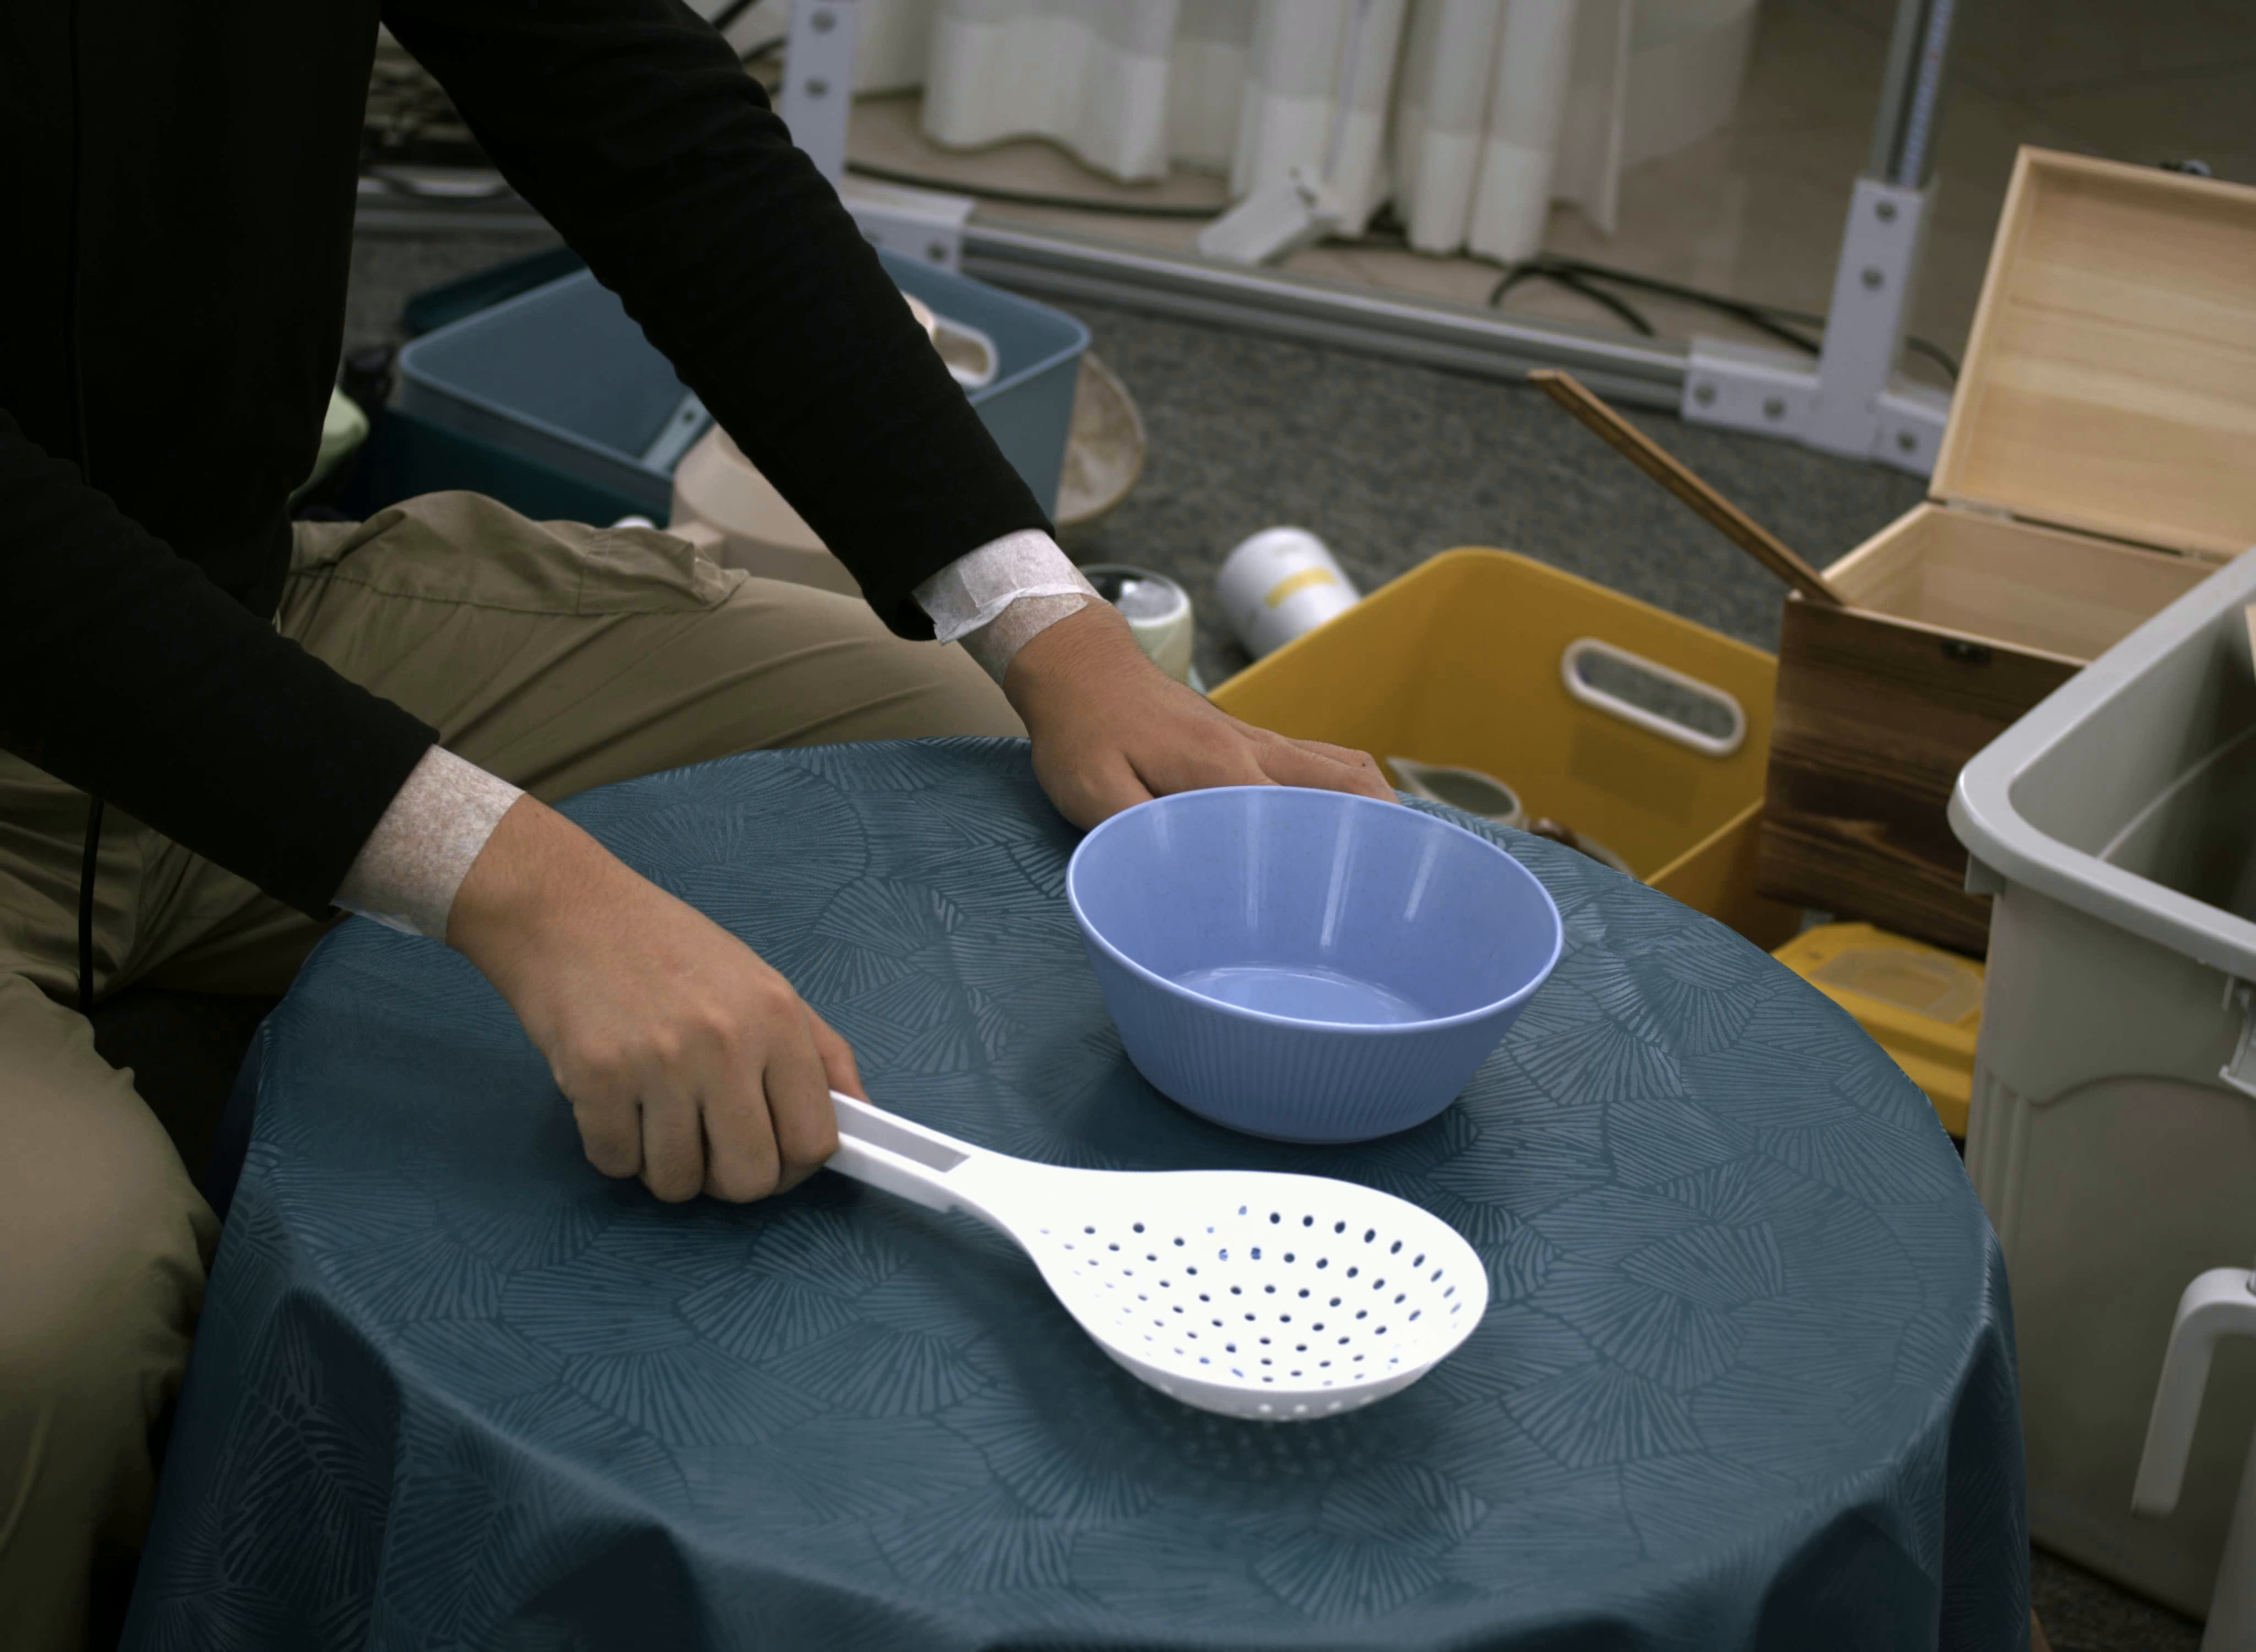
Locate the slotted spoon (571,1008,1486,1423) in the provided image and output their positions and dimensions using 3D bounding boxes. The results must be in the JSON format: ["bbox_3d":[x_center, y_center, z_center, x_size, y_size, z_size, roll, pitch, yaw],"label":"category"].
[{"bbox_3d":[-0.043,0.120,1.743,0.352,0.045,0.136,23,34,28],"label":"slotted spoon"}]

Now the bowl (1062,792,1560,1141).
[{"bbox_3d":[0.061,0.055,1.875,0.175,0.070,0.177,4,26,-2],"label":"bowl"}]
